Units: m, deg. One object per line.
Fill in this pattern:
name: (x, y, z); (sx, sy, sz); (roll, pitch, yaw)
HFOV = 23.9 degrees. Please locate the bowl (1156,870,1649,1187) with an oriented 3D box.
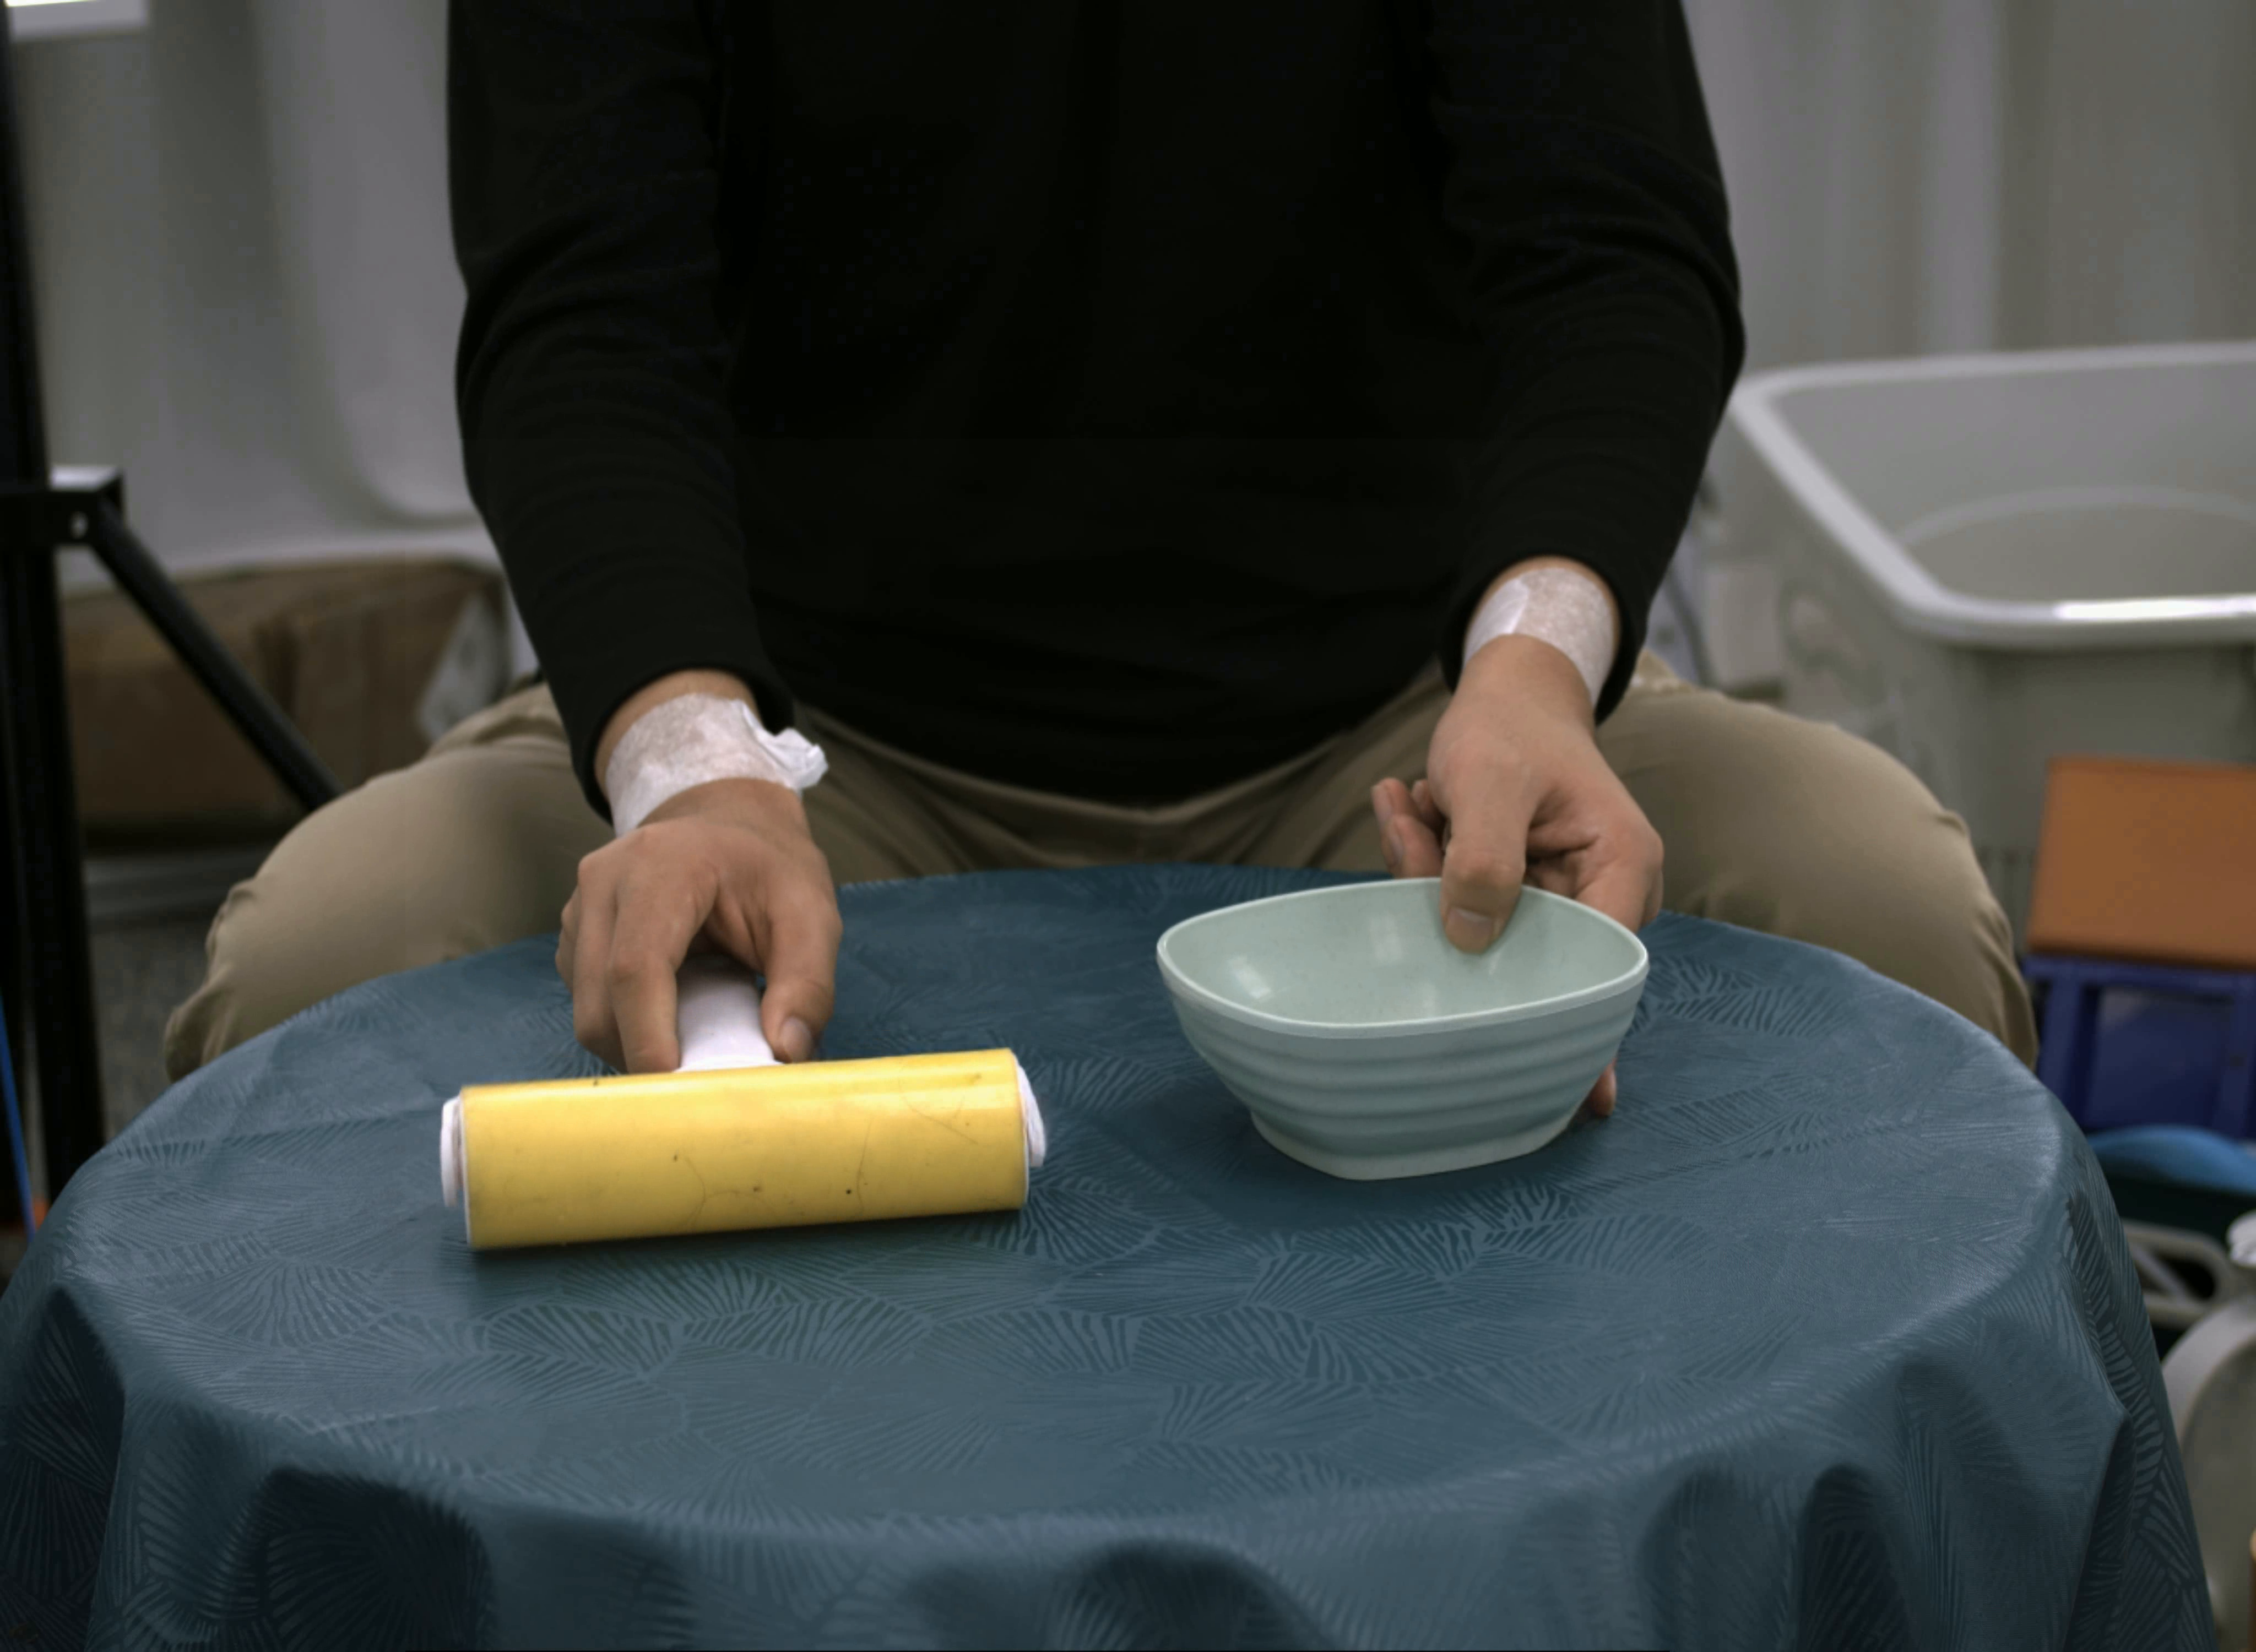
bowl: (0.083, 0.064, 1.594); (0.151, 0.058, 0.152); (-3, 18, 0)

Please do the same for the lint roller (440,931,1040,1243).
lint roller: (-0.124, 0.062, 1.602); (0.172, 0.051, 0.194); (-4, 27, -8)
